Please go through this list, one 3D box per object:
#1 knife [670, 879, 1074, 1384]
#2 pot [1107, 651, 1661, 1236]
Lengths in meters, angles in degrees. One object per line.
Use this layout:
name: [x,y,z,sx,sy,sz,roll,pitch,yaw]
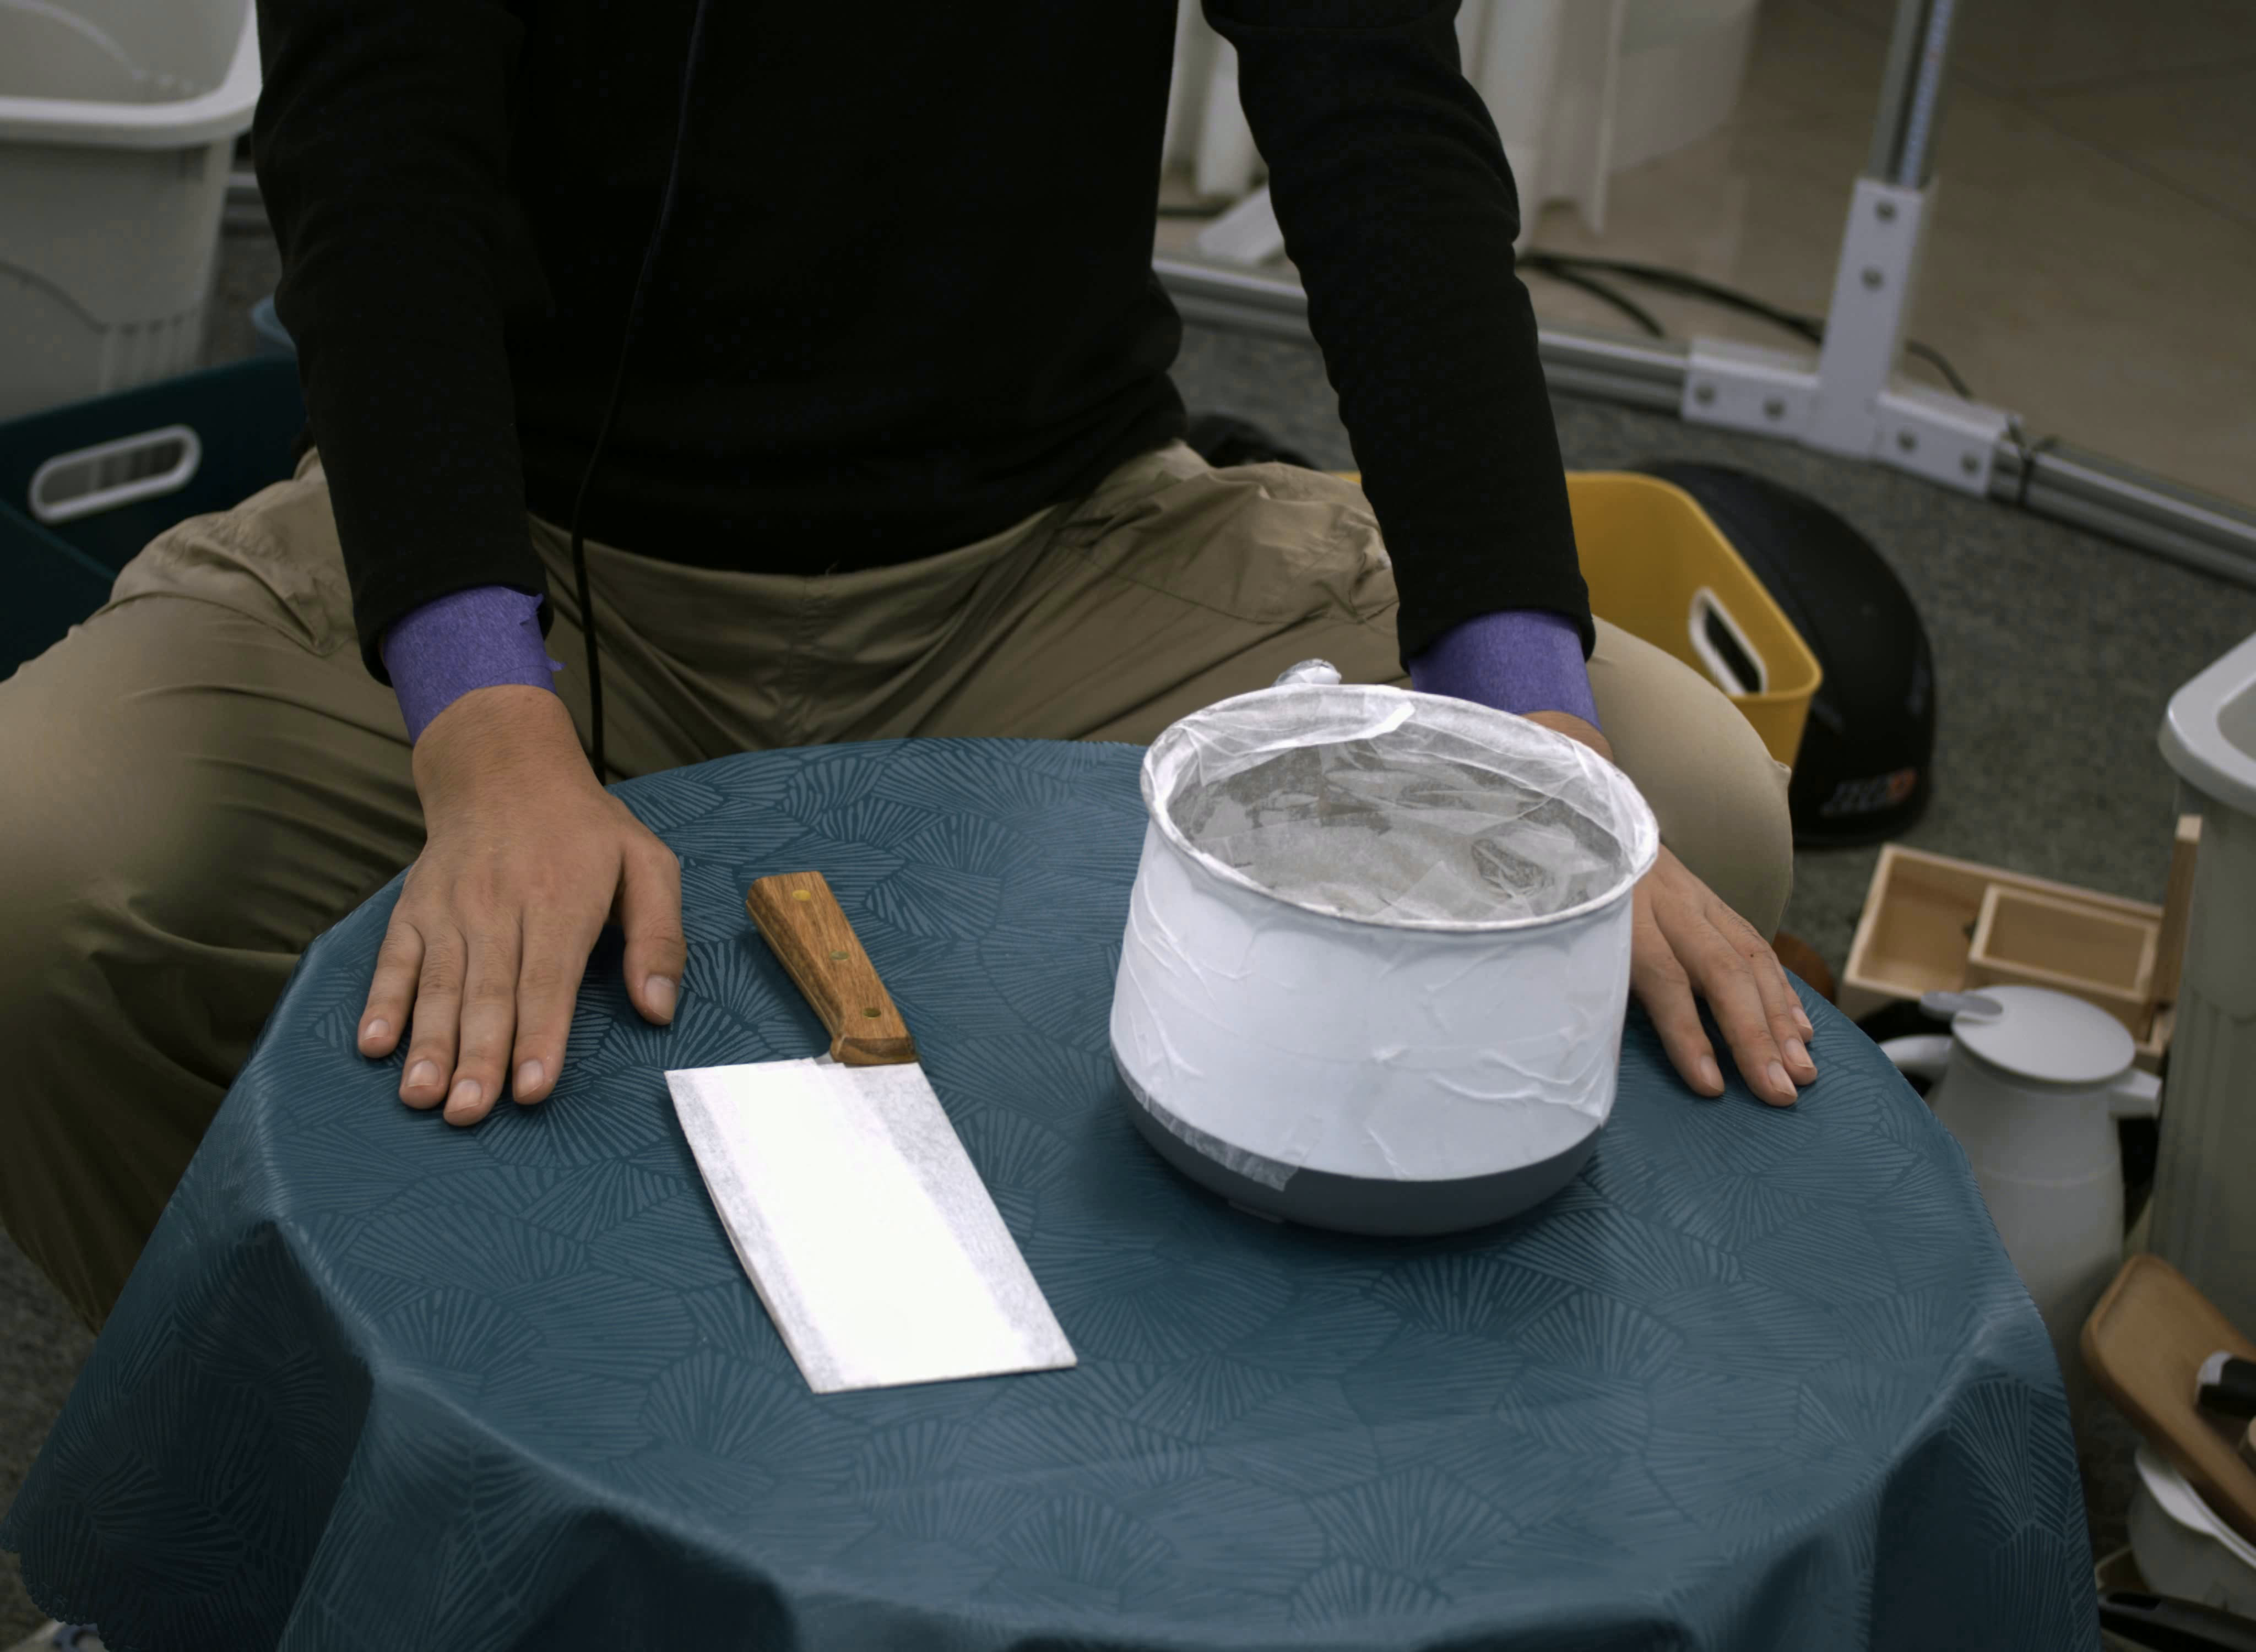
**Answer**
knife: [-0.104,0.101,1.813,0.092,0.021,0.308,-3,30,-19]
pot: [0.077,0.033,1.846,0.177,0.136,0.236,-1,29,-17]
